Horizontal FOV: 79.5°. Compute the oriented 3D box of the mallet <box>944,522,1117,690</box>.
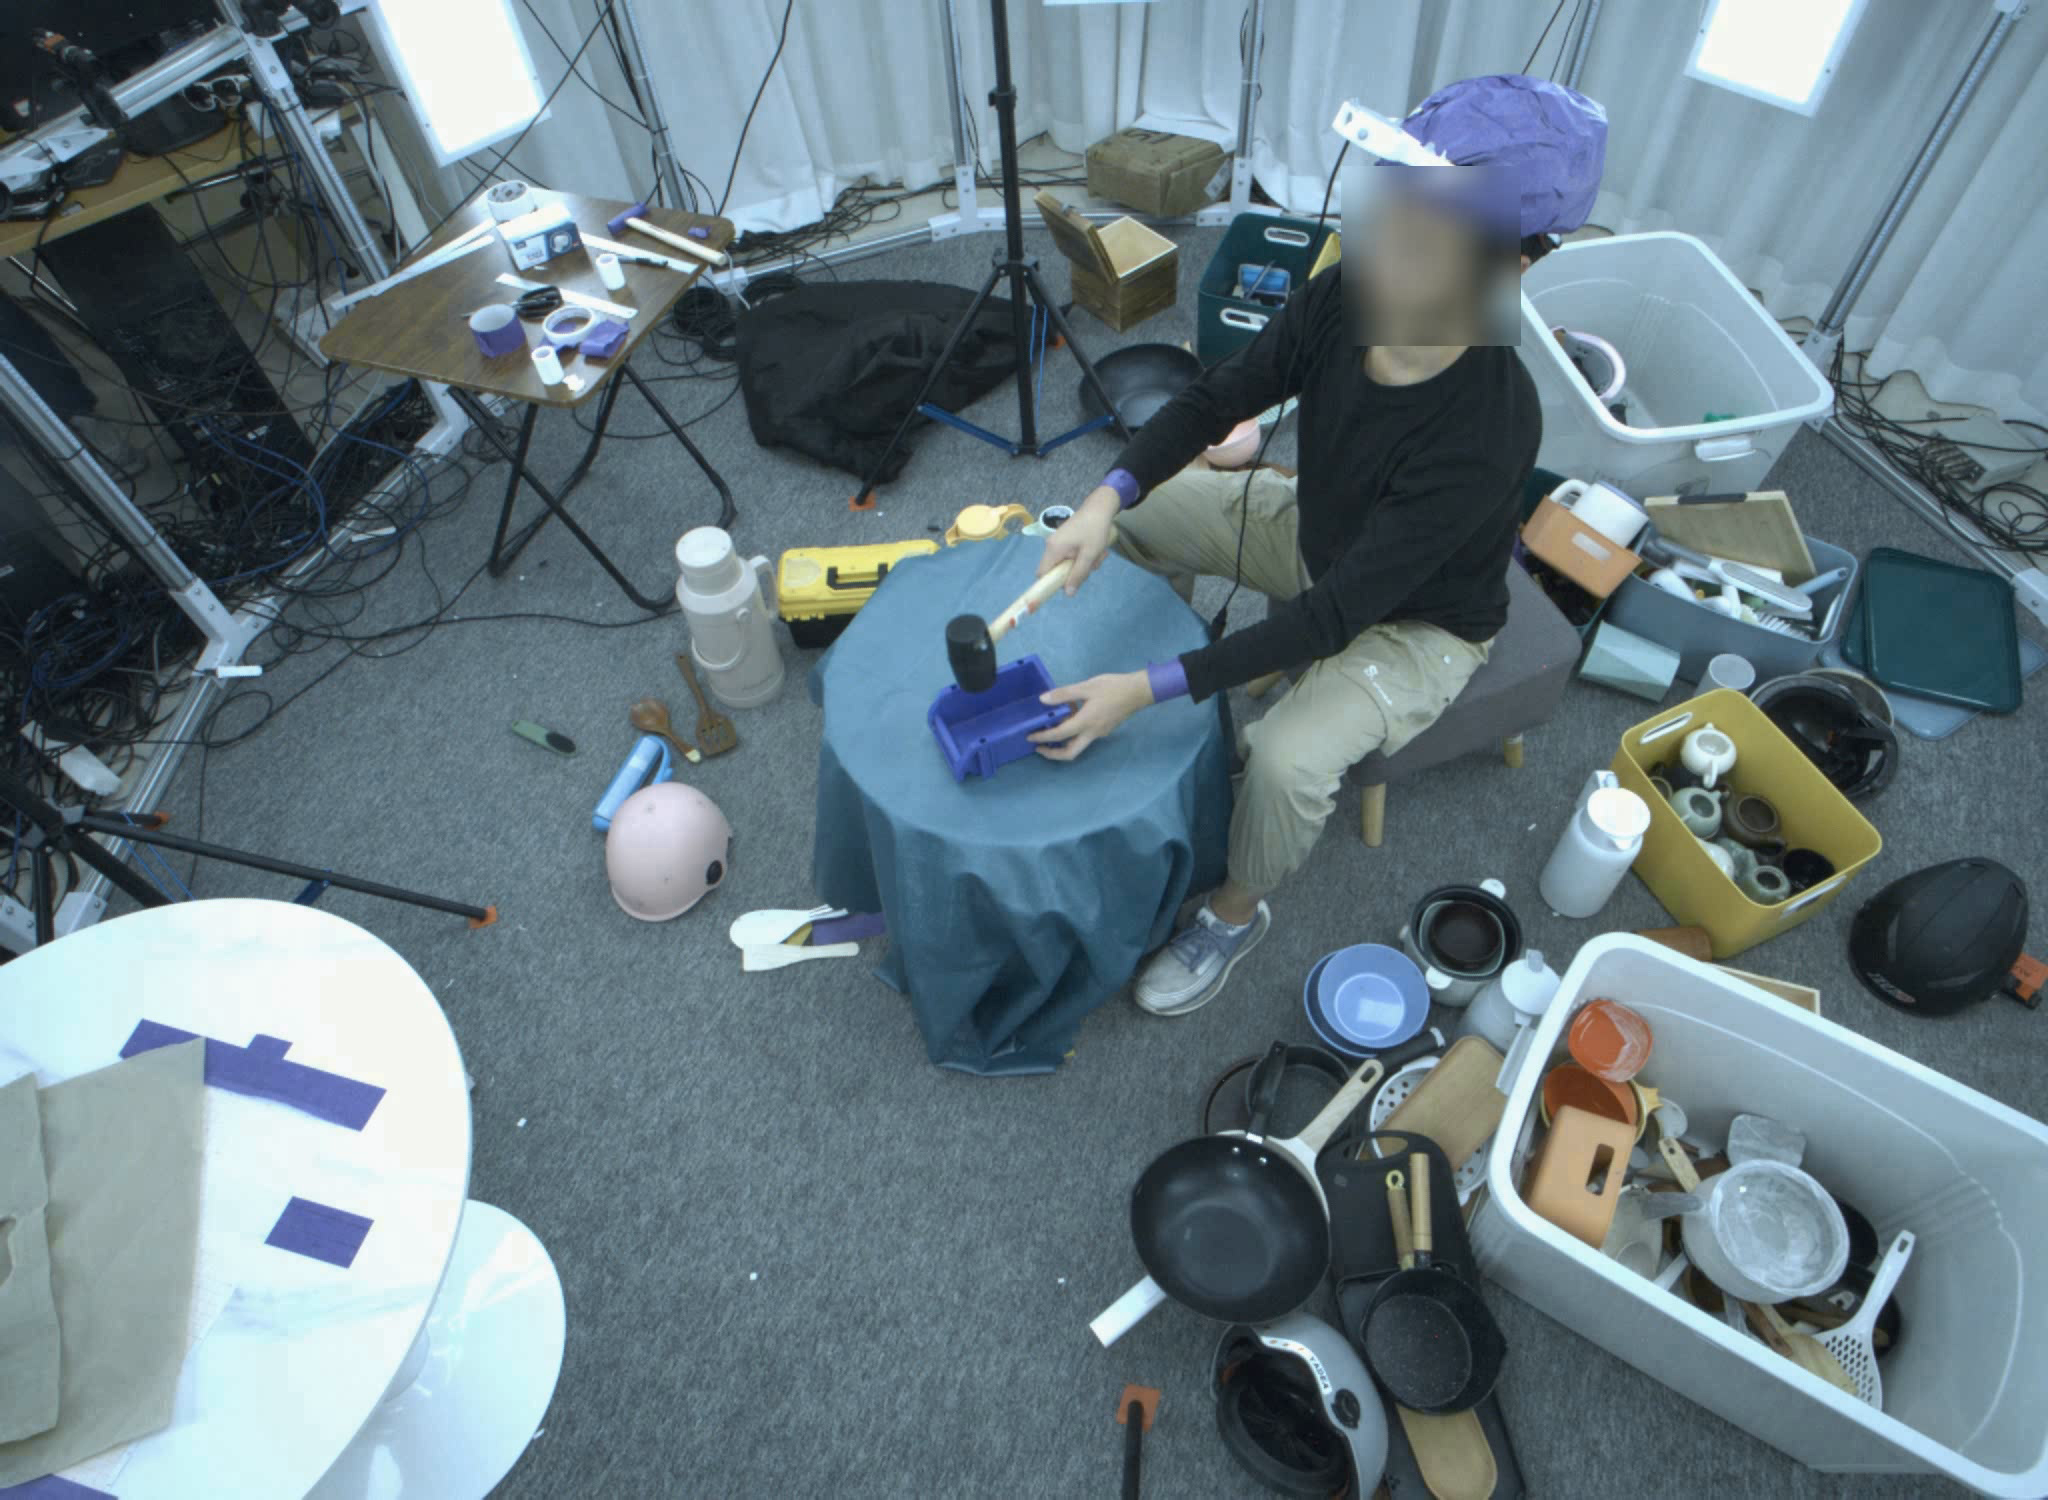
[{"bbox_3d":[0.021,-0.214,1.700,0.063,0.103,0.341,33,58,30],"label":"mallet"}]

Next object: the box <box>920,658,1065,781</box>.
[{"bbox_3d":[-0.047,-0.038,1.762,0.181,0.082,0.122,-18,56,-15],"label":"box"}]
